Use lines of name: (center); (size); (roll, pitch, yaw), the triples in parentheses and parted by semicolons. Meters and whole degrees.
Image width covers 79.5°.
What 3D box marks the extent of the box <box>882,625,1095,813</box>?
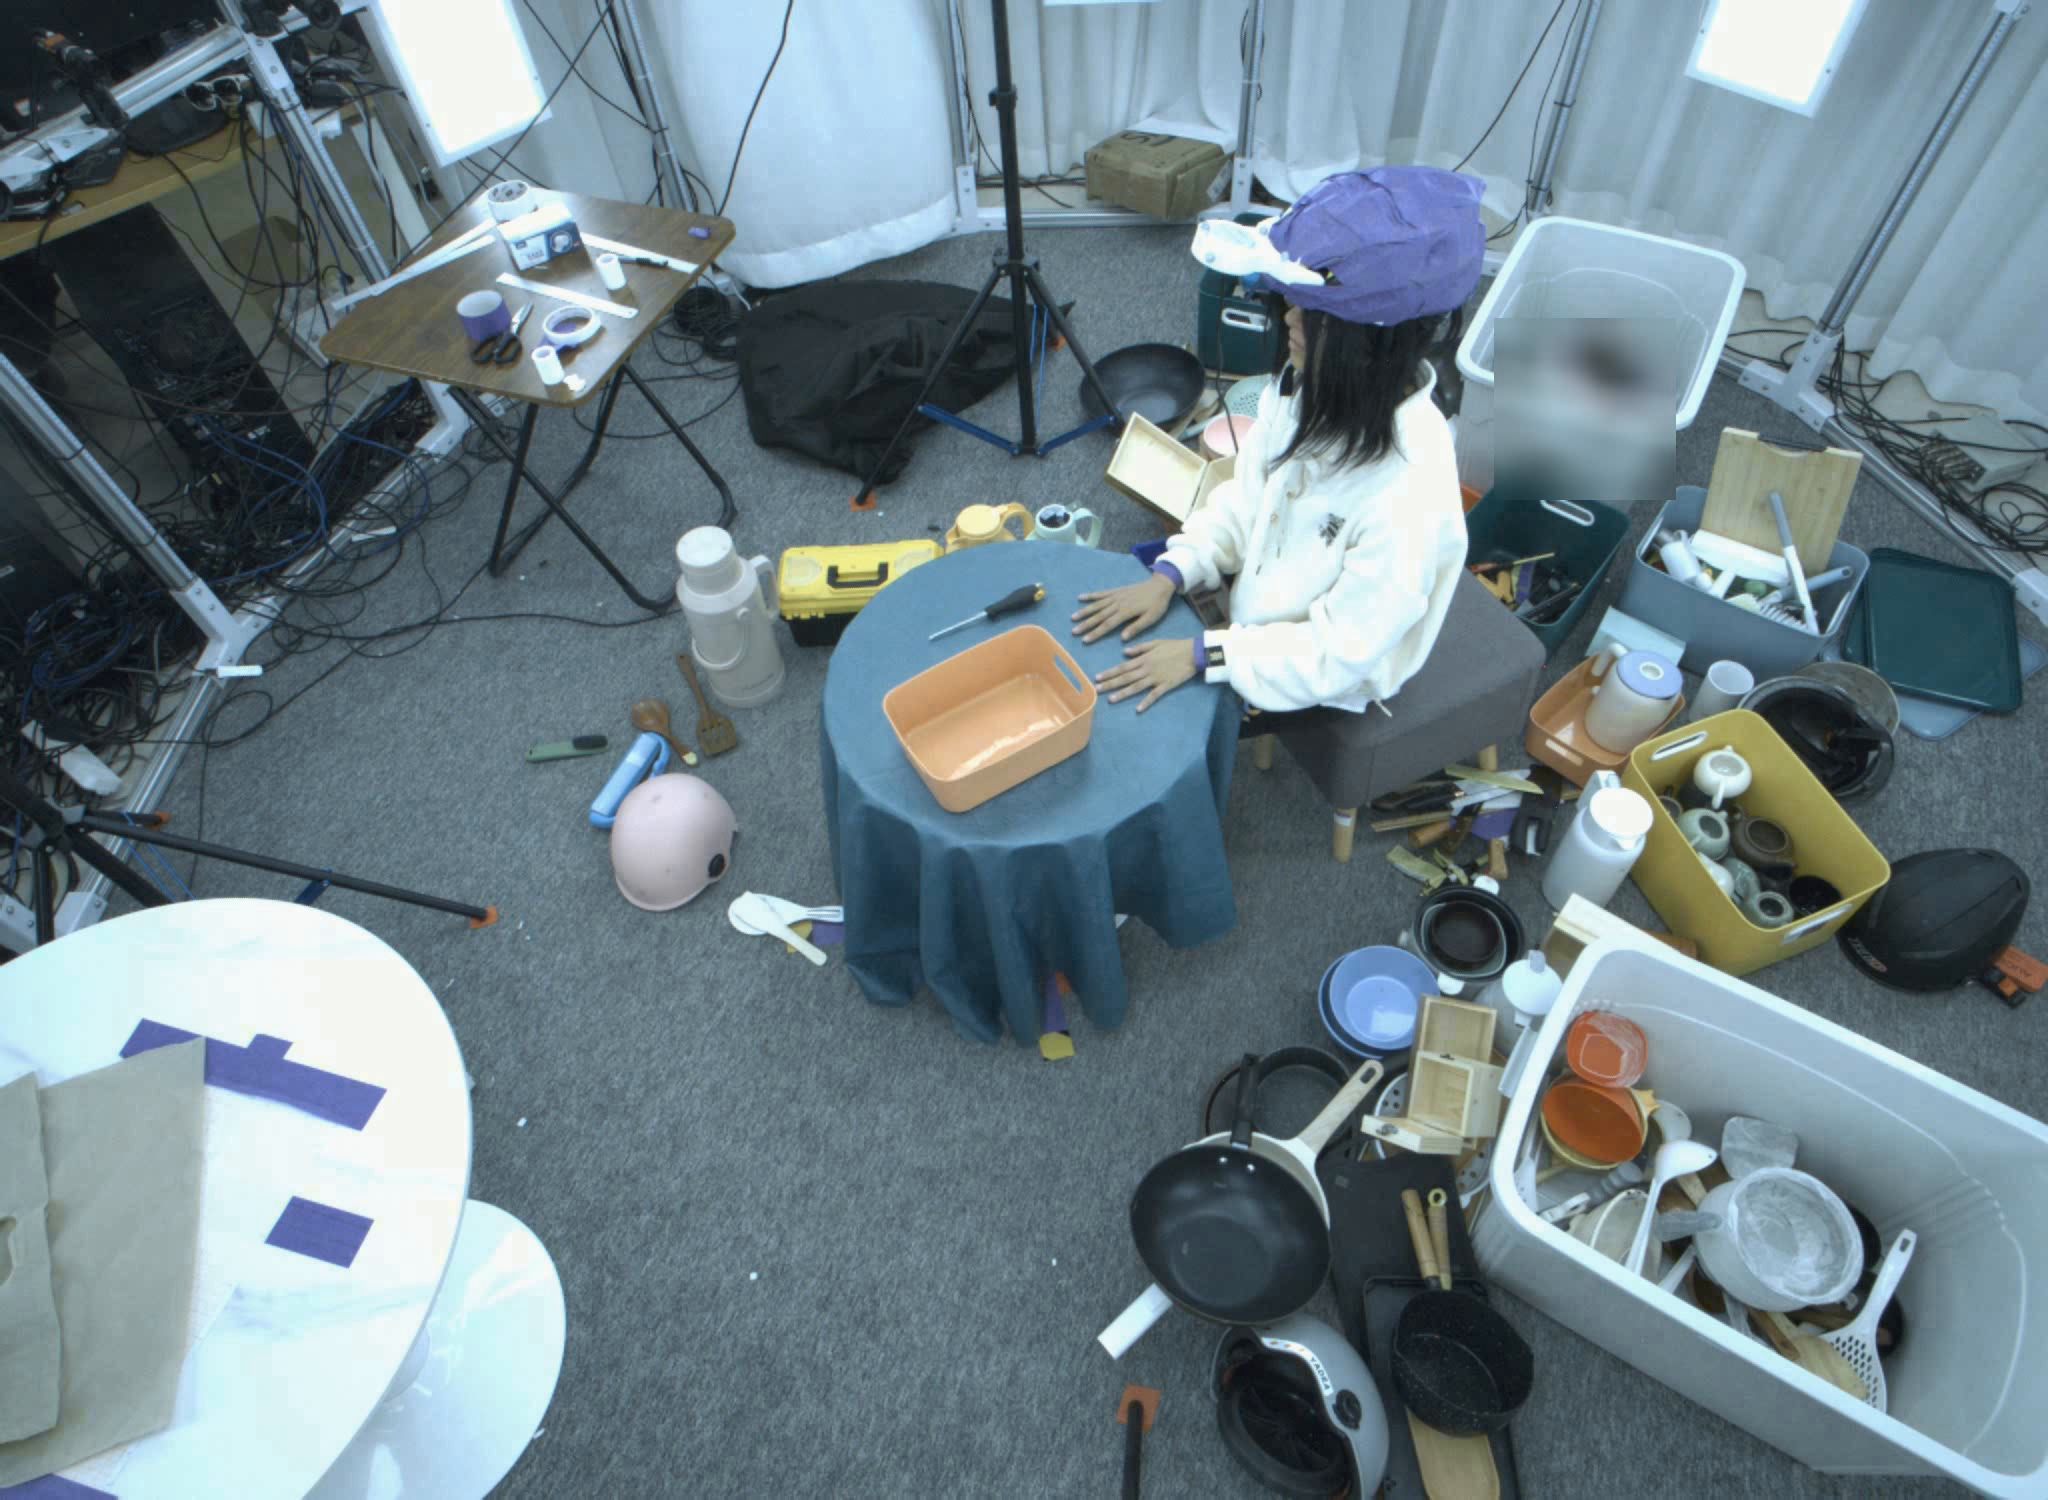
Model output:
box: (-0.045, -0.041, 1.754); (0.275, 0.104, 0.195); (-29, 58, -16)

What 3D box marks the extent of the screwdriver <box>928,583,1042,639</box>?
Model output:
screwdriver: (-0.063, -0.218, 1.932); (0.197, 0.032, 0.031); (-23, 57, -9)
